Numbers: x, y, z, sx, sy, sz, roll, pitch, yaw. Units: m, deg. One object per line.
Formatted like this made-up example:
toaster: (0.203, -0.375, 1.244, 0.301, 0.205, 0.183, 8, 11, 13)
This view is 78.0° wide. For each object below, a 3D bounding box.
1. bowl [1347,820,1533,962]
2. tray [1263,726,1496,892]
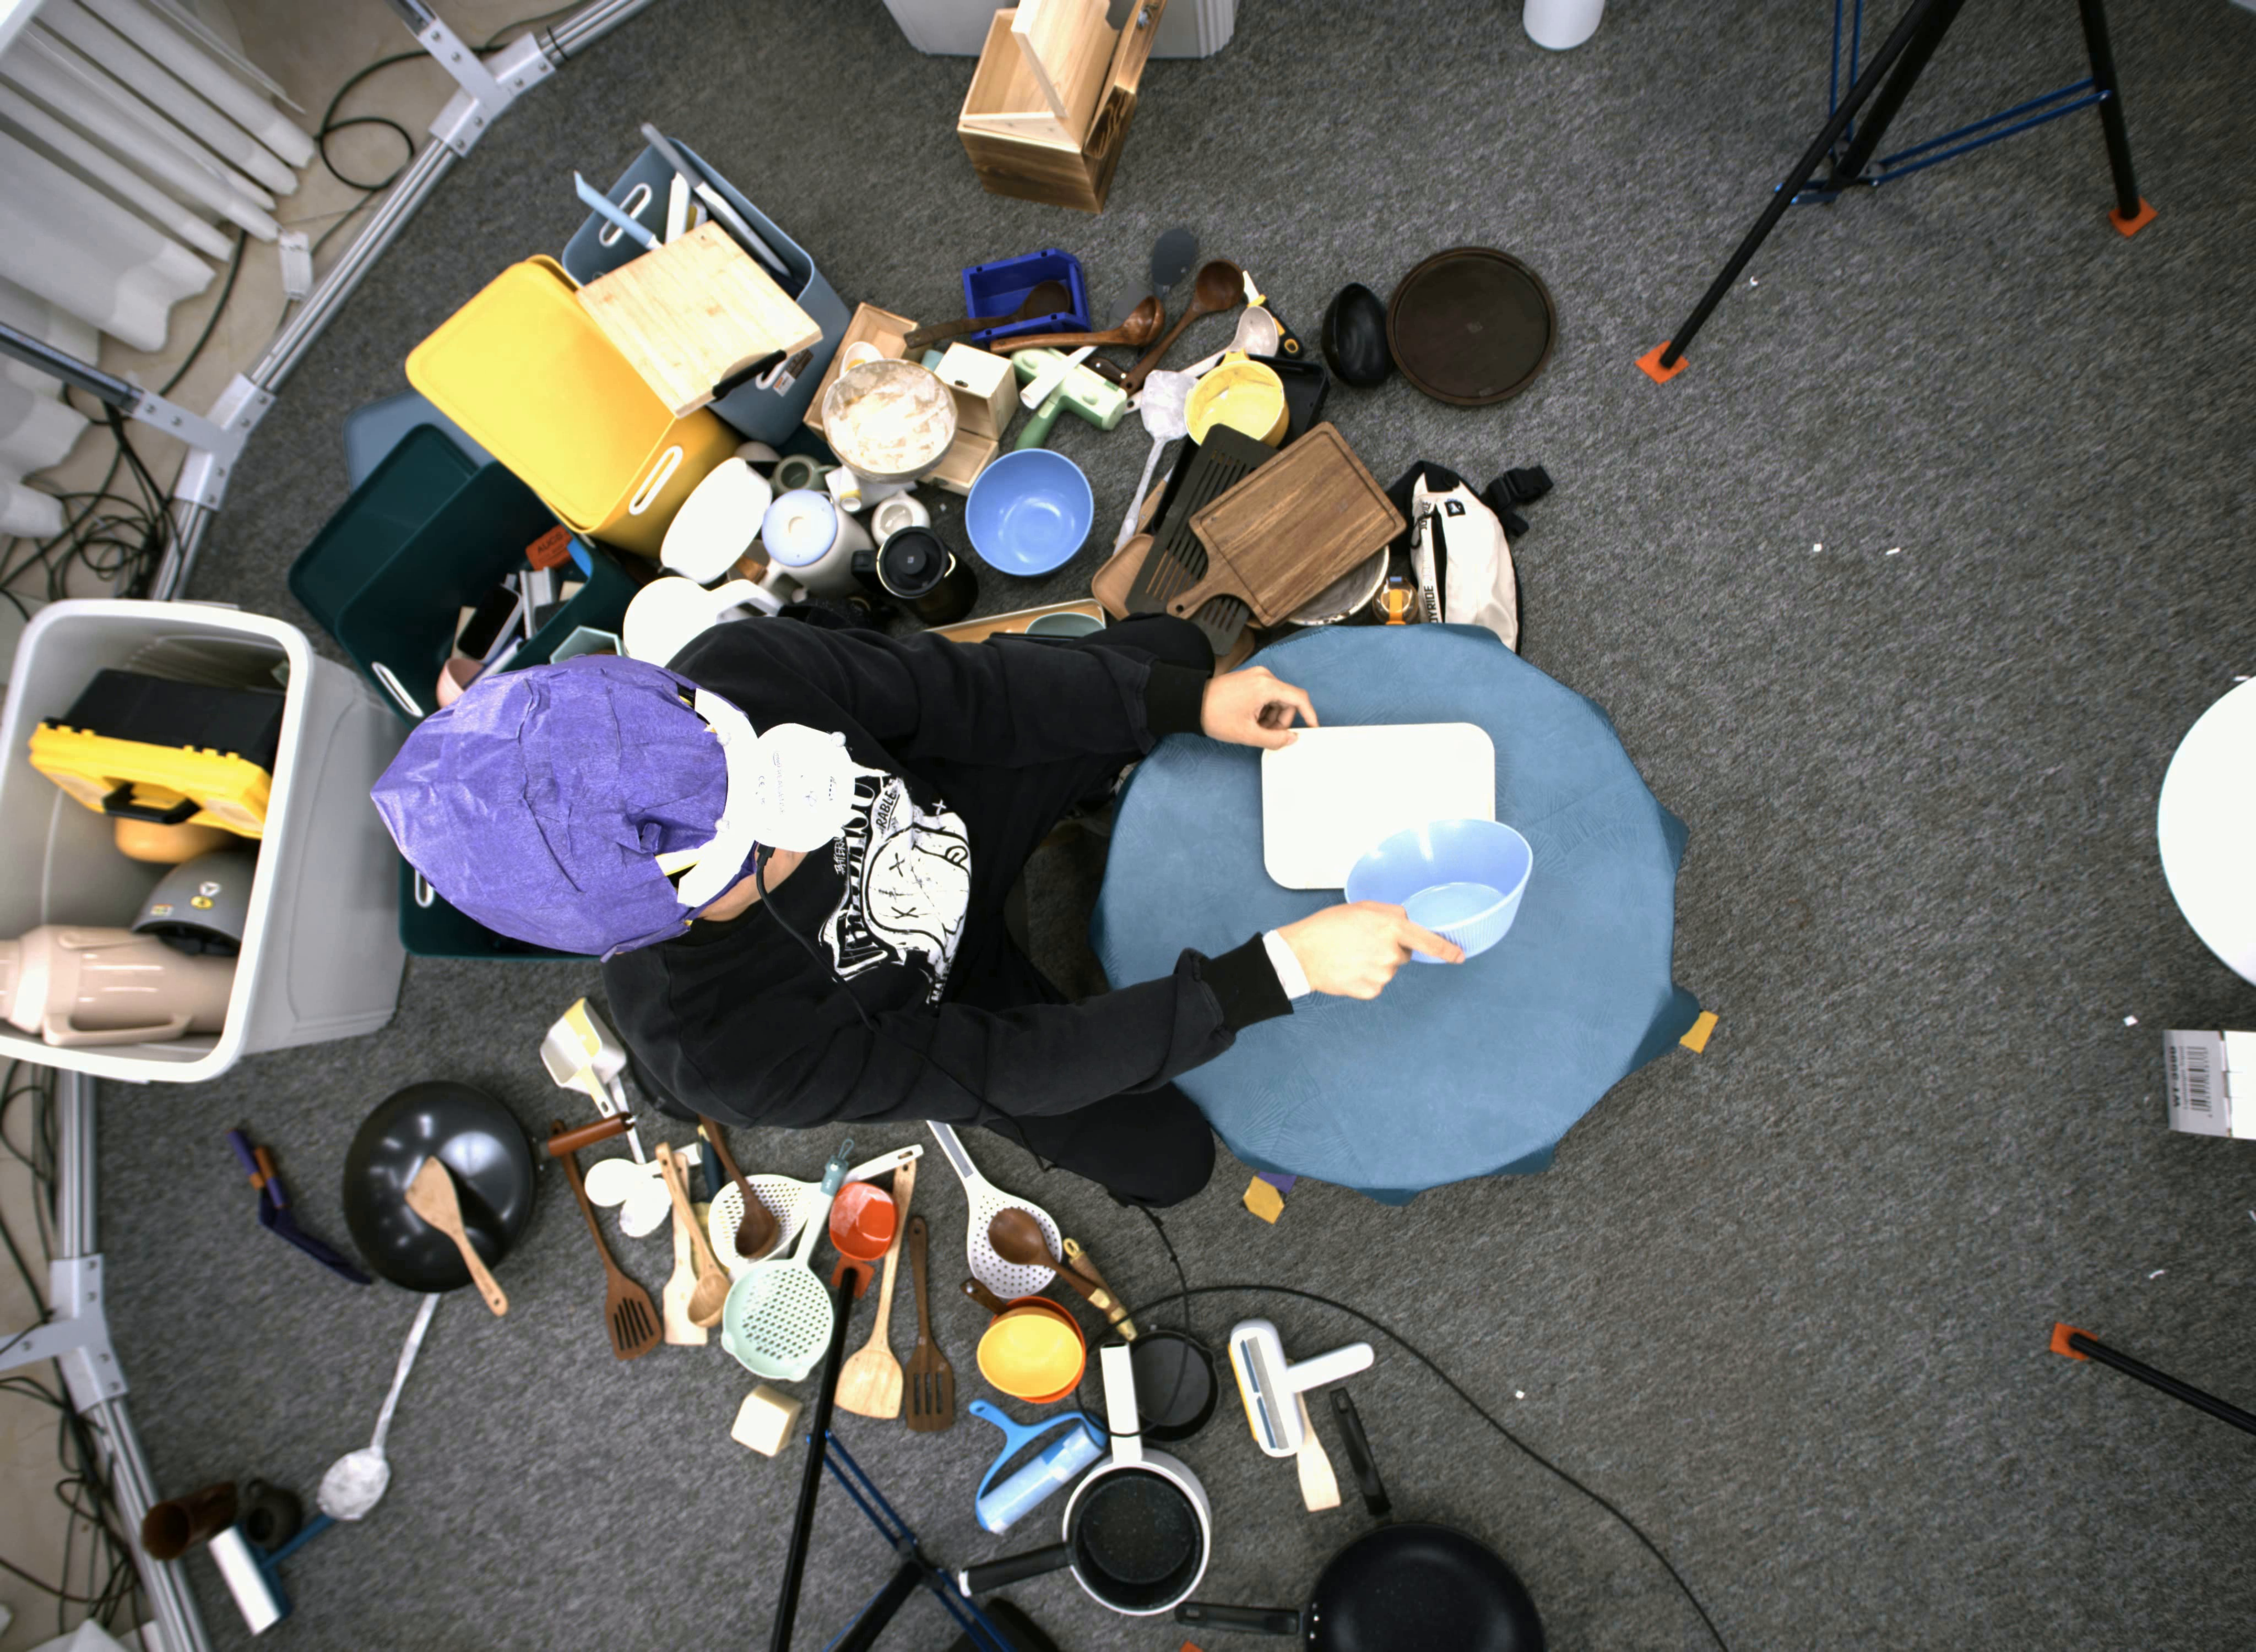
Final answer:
bowl: (0.301, 0.068, 1.308, 0.177, 0.172, 0.071, -18, 117, 8)
tray: (0.264, -0.019, 1.447, 0.240, 0.017, 0.172, -1, 98, 10)
